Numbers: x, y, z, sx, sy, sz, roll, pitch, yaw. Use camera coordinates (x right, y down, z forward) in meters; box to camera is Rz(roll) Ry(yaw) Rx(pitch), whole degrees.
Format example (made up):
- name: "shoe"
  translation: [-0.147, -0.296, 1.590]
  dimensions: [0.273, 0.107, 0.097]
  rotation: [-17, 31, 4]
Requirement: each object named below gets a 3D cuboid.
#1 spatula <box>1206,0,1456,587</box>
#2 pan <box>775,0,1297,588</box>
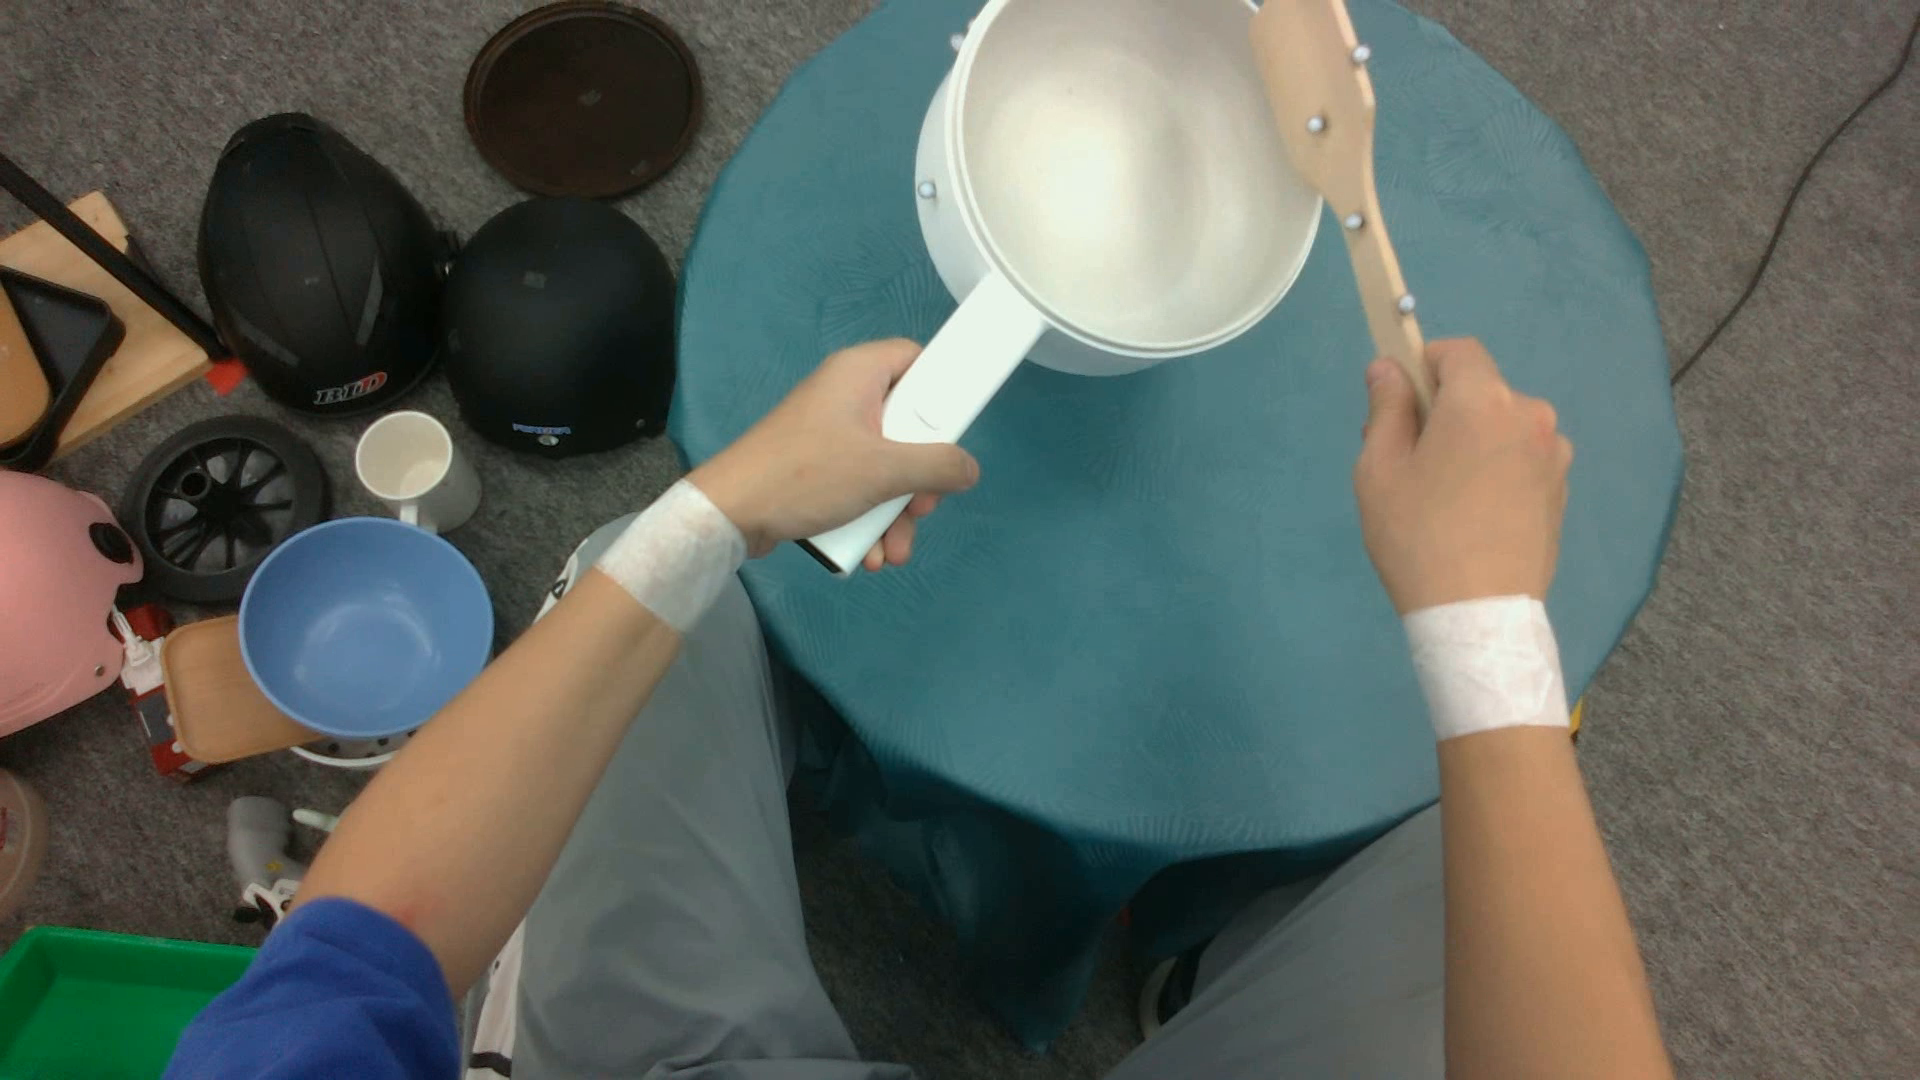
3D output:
- name: "spatula"
  translation: [0.177, -0.118, 0.645]
  dimensions: [0.011, 0.072, 0.293]
  rotation: [-13, 79, -18]
- name: "pan"
  translation: [0.025, -0.122, 0.715]
  dimensions: [0.201, 0.102, 0.356]
  rotation: [40, 75, -12]
